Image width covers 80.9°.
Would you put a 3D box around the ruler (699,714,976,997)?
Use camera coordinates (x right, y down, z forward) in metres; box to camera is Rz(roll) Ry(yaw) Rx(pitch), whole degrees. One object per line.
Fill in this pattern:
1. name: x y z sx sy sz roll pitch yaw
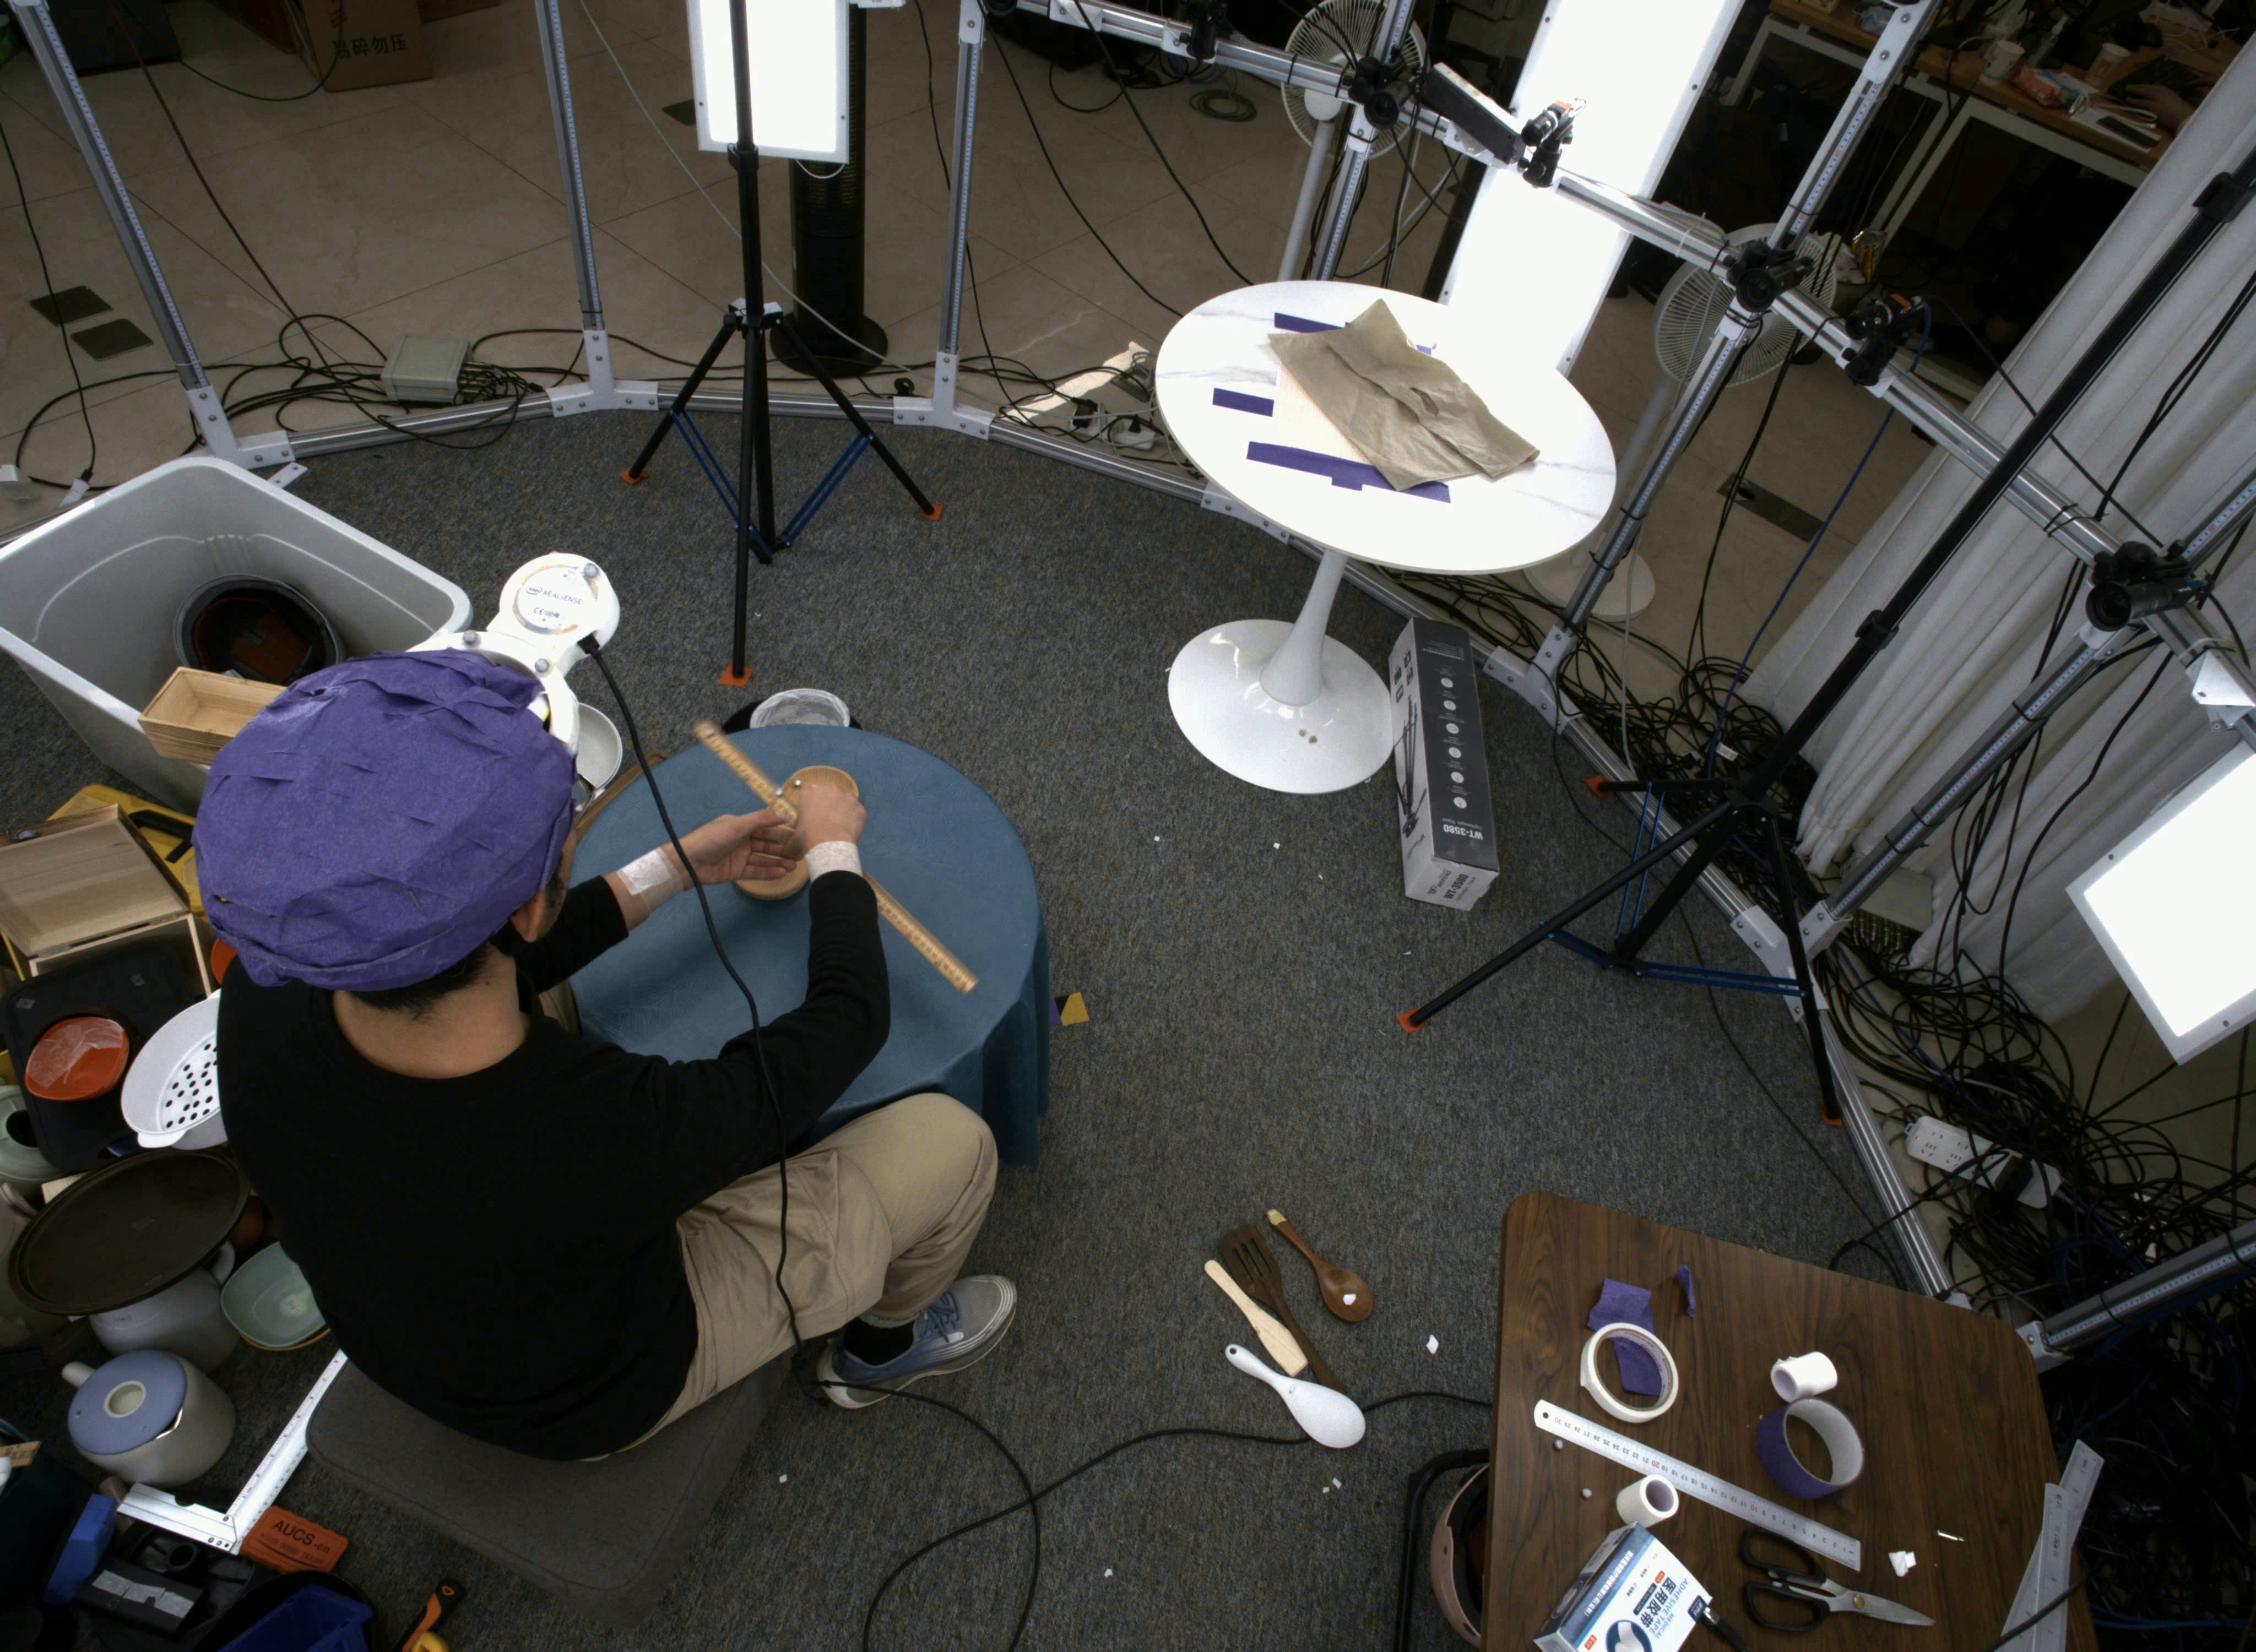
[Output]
1. ruler: -0.361 0.028 1.575 0.491 0.006 0.027 43 66 13

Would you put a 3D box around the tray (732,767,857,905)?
1. tray: -0.434 0.010 1.698 0.100 0.021 0.229 21 53 3
